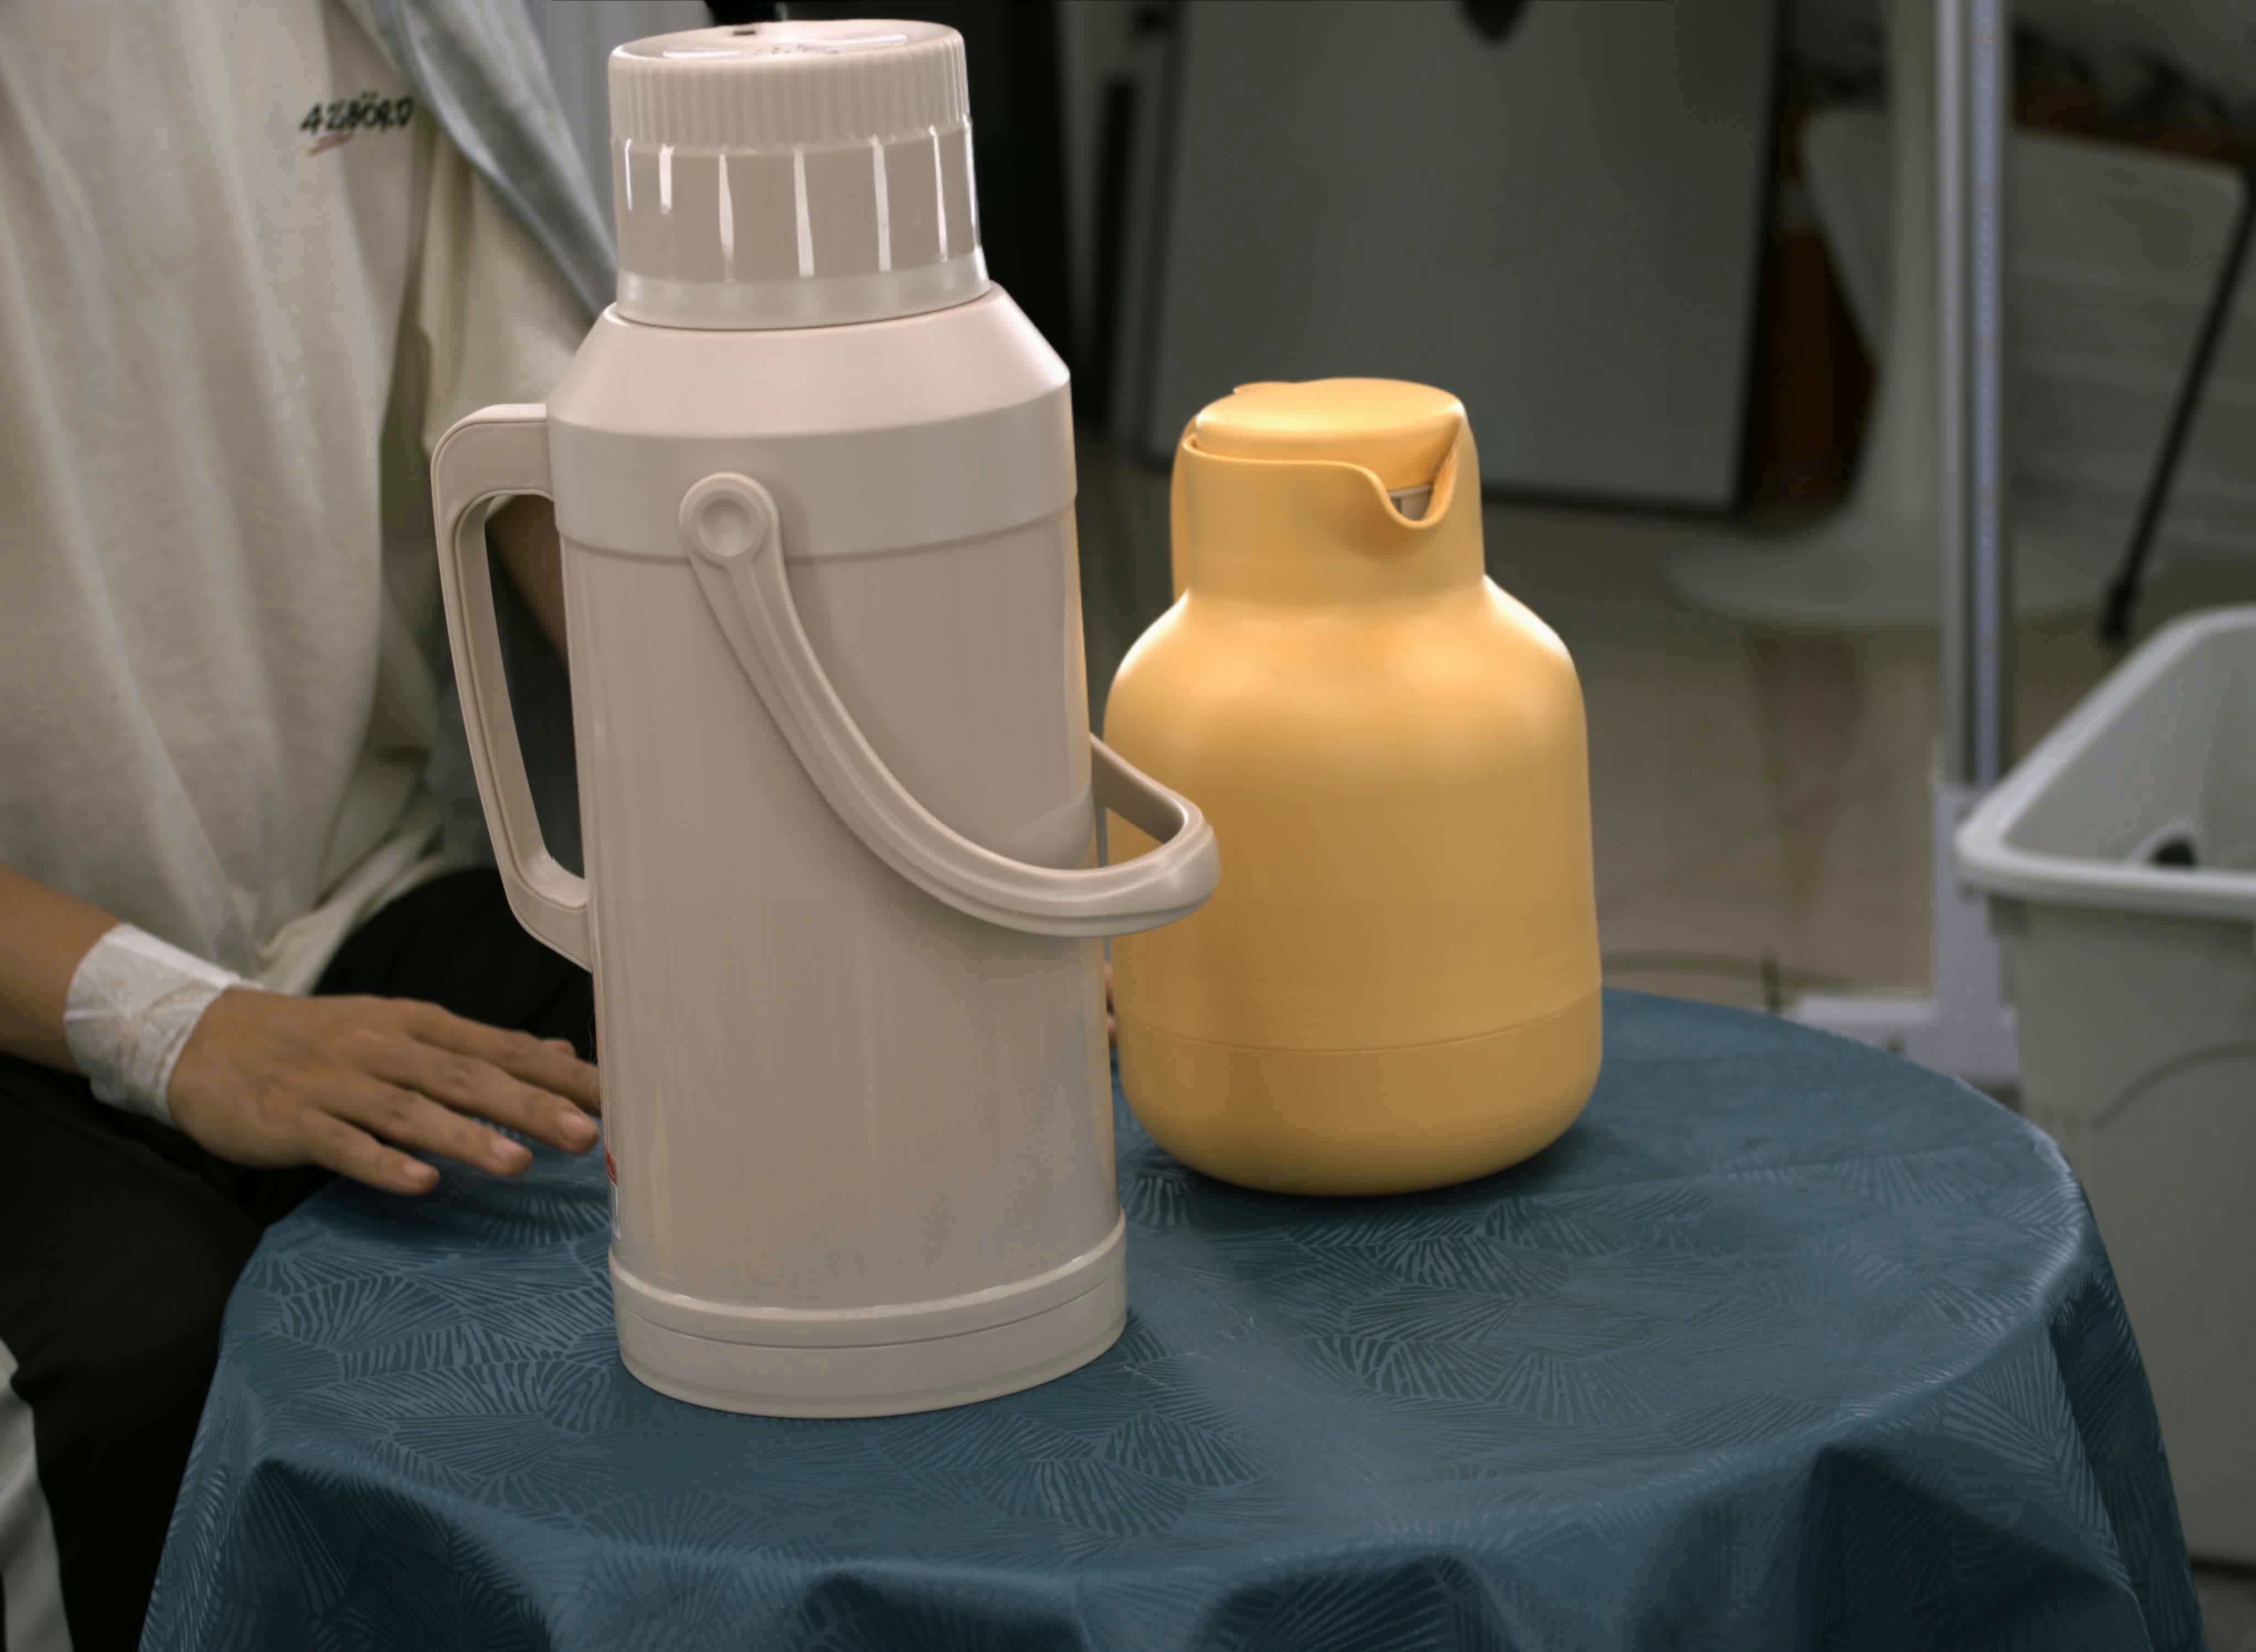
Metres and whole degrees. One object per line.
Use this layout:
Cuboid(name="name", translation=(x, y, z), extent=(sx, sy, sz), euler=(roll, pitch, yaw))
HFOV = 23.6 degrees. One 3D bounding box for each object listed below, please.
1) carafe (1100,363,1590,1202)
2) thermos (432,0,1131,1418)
Cuboid(name="carafe", translation=(0.065, -0.022, 1.790), extent=(0.160, 0.263, 0.204), euler=(-6, 15, -17))
Cuboid(name="thermos", translation=(-0.103, -0.039, 1.616), extent=(0.206, 0.411, 0.174), euler=(1, 15, 15))
